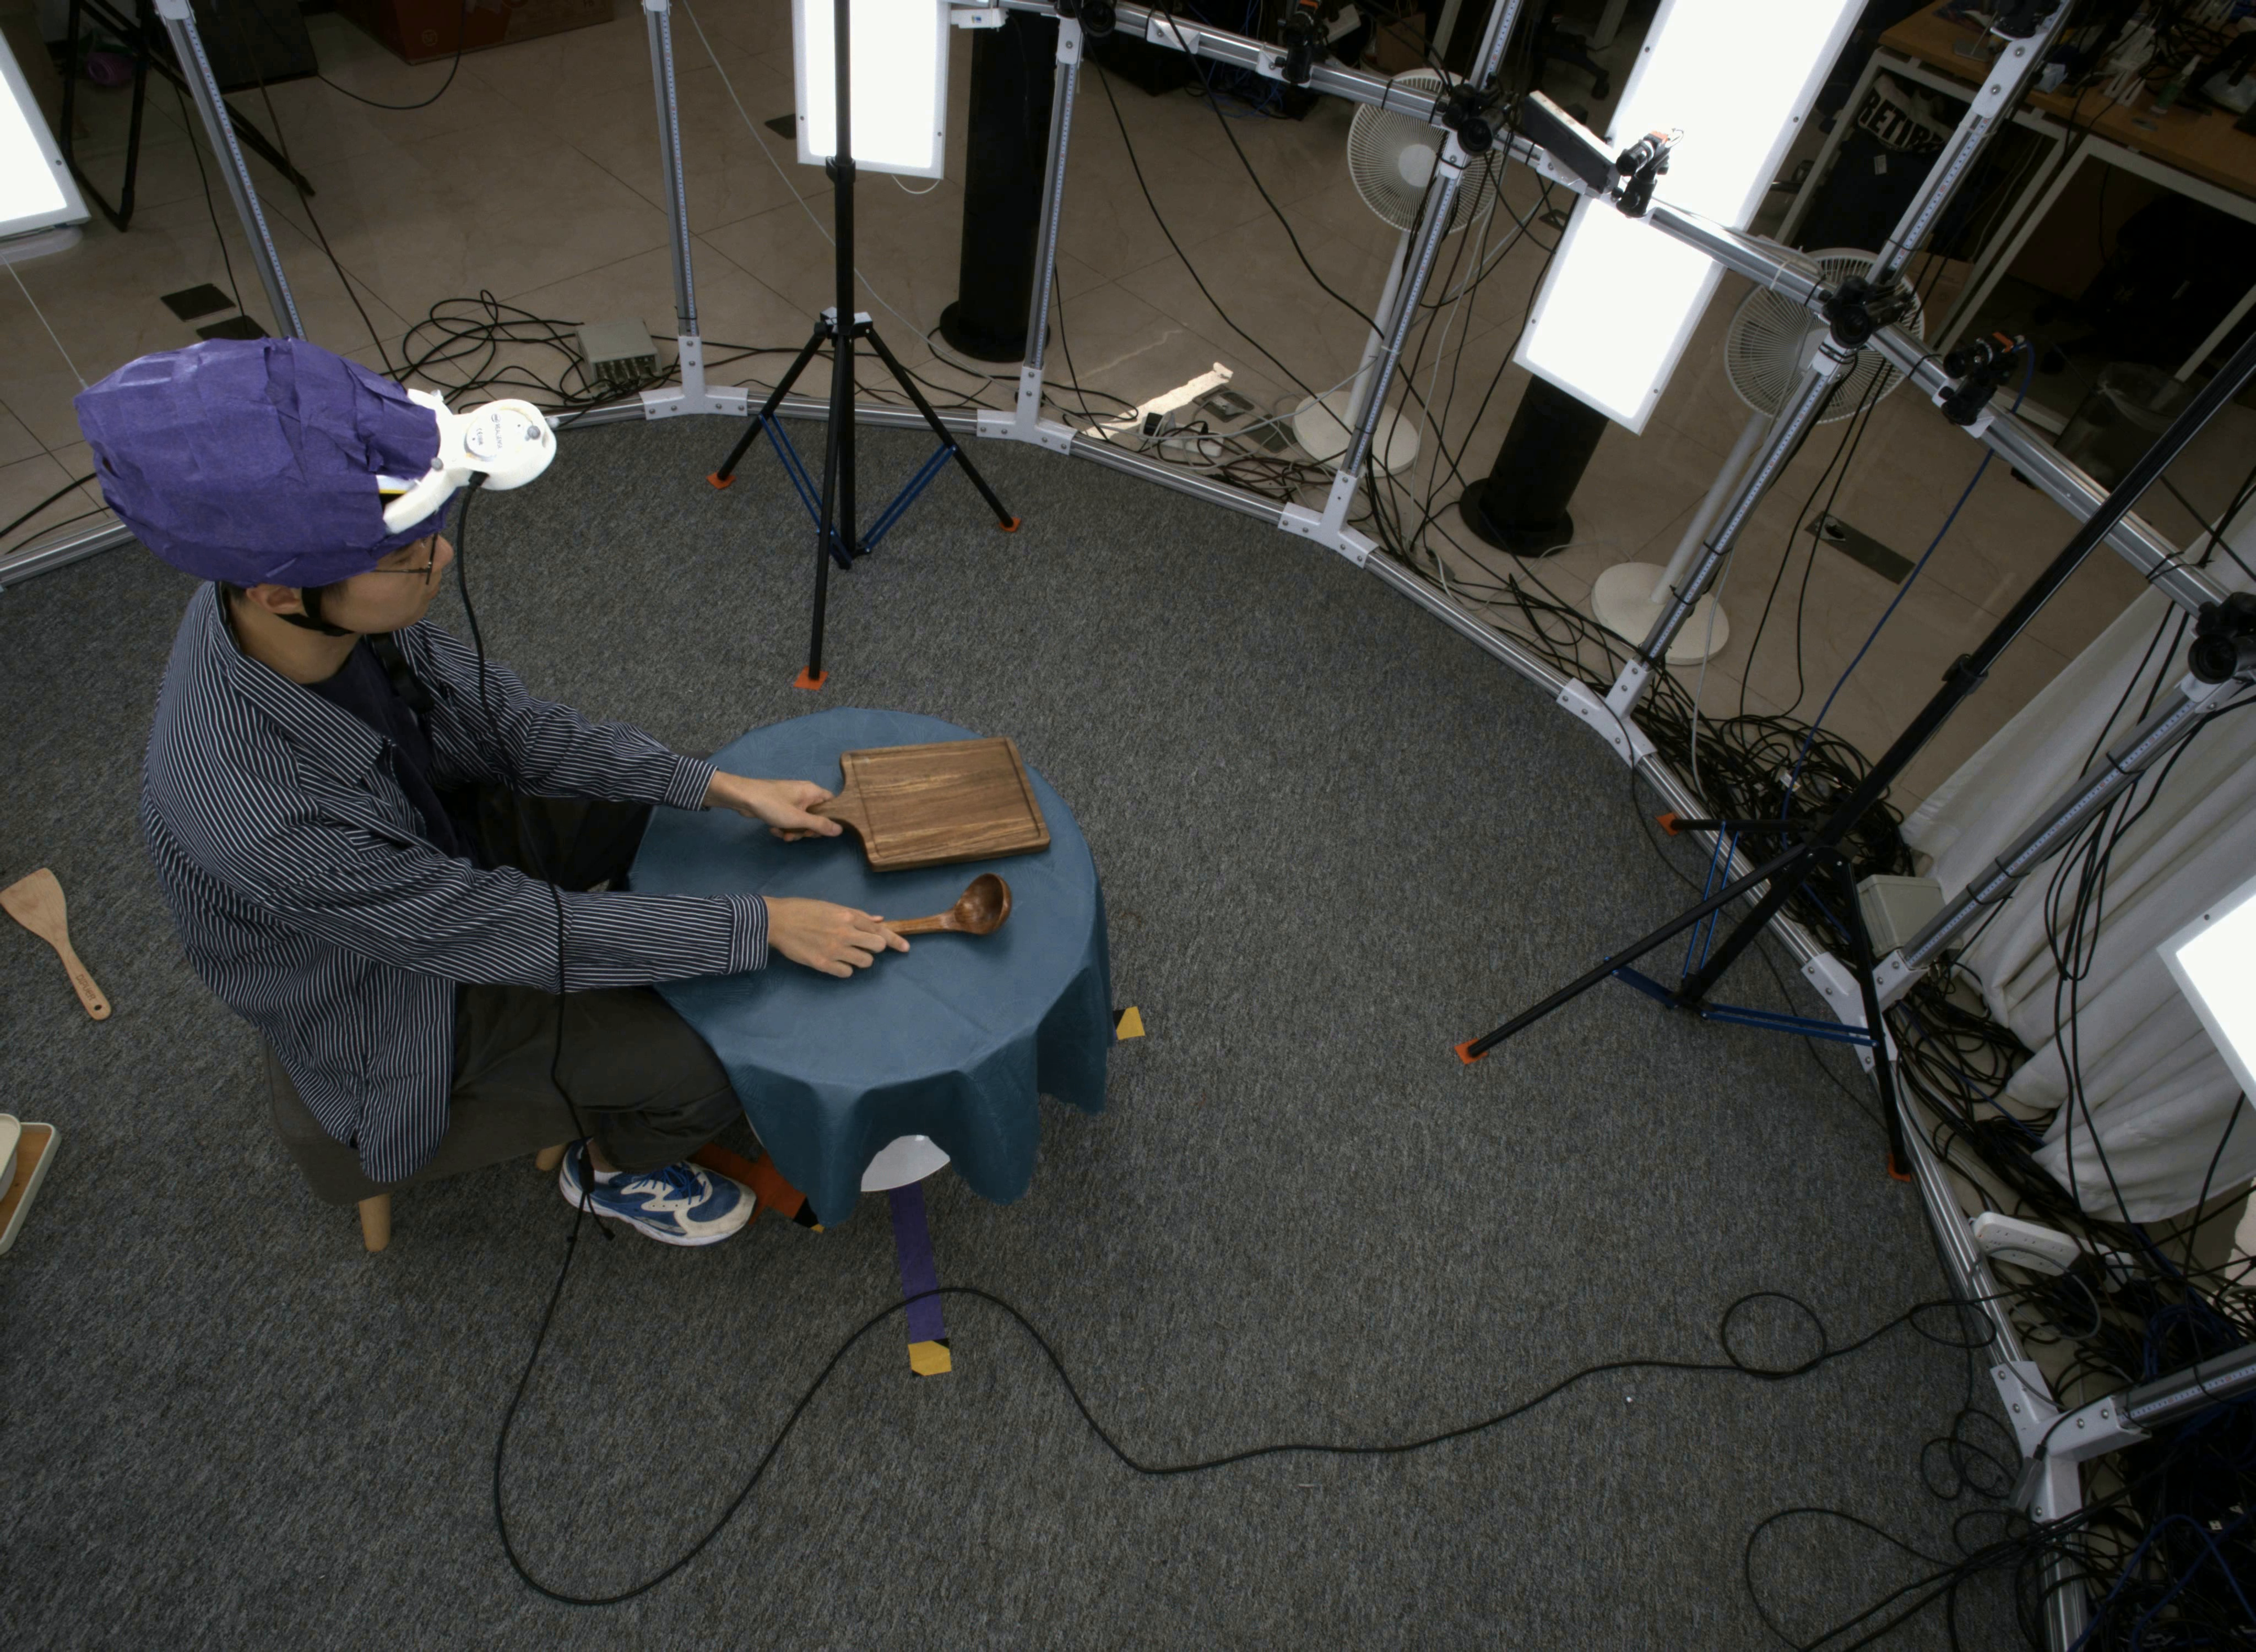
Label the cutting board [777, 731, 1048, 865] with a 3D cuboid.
[{"bbox_3d":[-0.298,-0.039,1.767,0.355,0.023,0.196,-6,55,-24],"label":"cutting board"}]

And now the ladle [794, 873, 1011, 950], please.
[{"bbox_3d":[-0.282,0.111,1.638,0.275,0.078,0.079,-5,48,-21],"label":"ladle"}]
